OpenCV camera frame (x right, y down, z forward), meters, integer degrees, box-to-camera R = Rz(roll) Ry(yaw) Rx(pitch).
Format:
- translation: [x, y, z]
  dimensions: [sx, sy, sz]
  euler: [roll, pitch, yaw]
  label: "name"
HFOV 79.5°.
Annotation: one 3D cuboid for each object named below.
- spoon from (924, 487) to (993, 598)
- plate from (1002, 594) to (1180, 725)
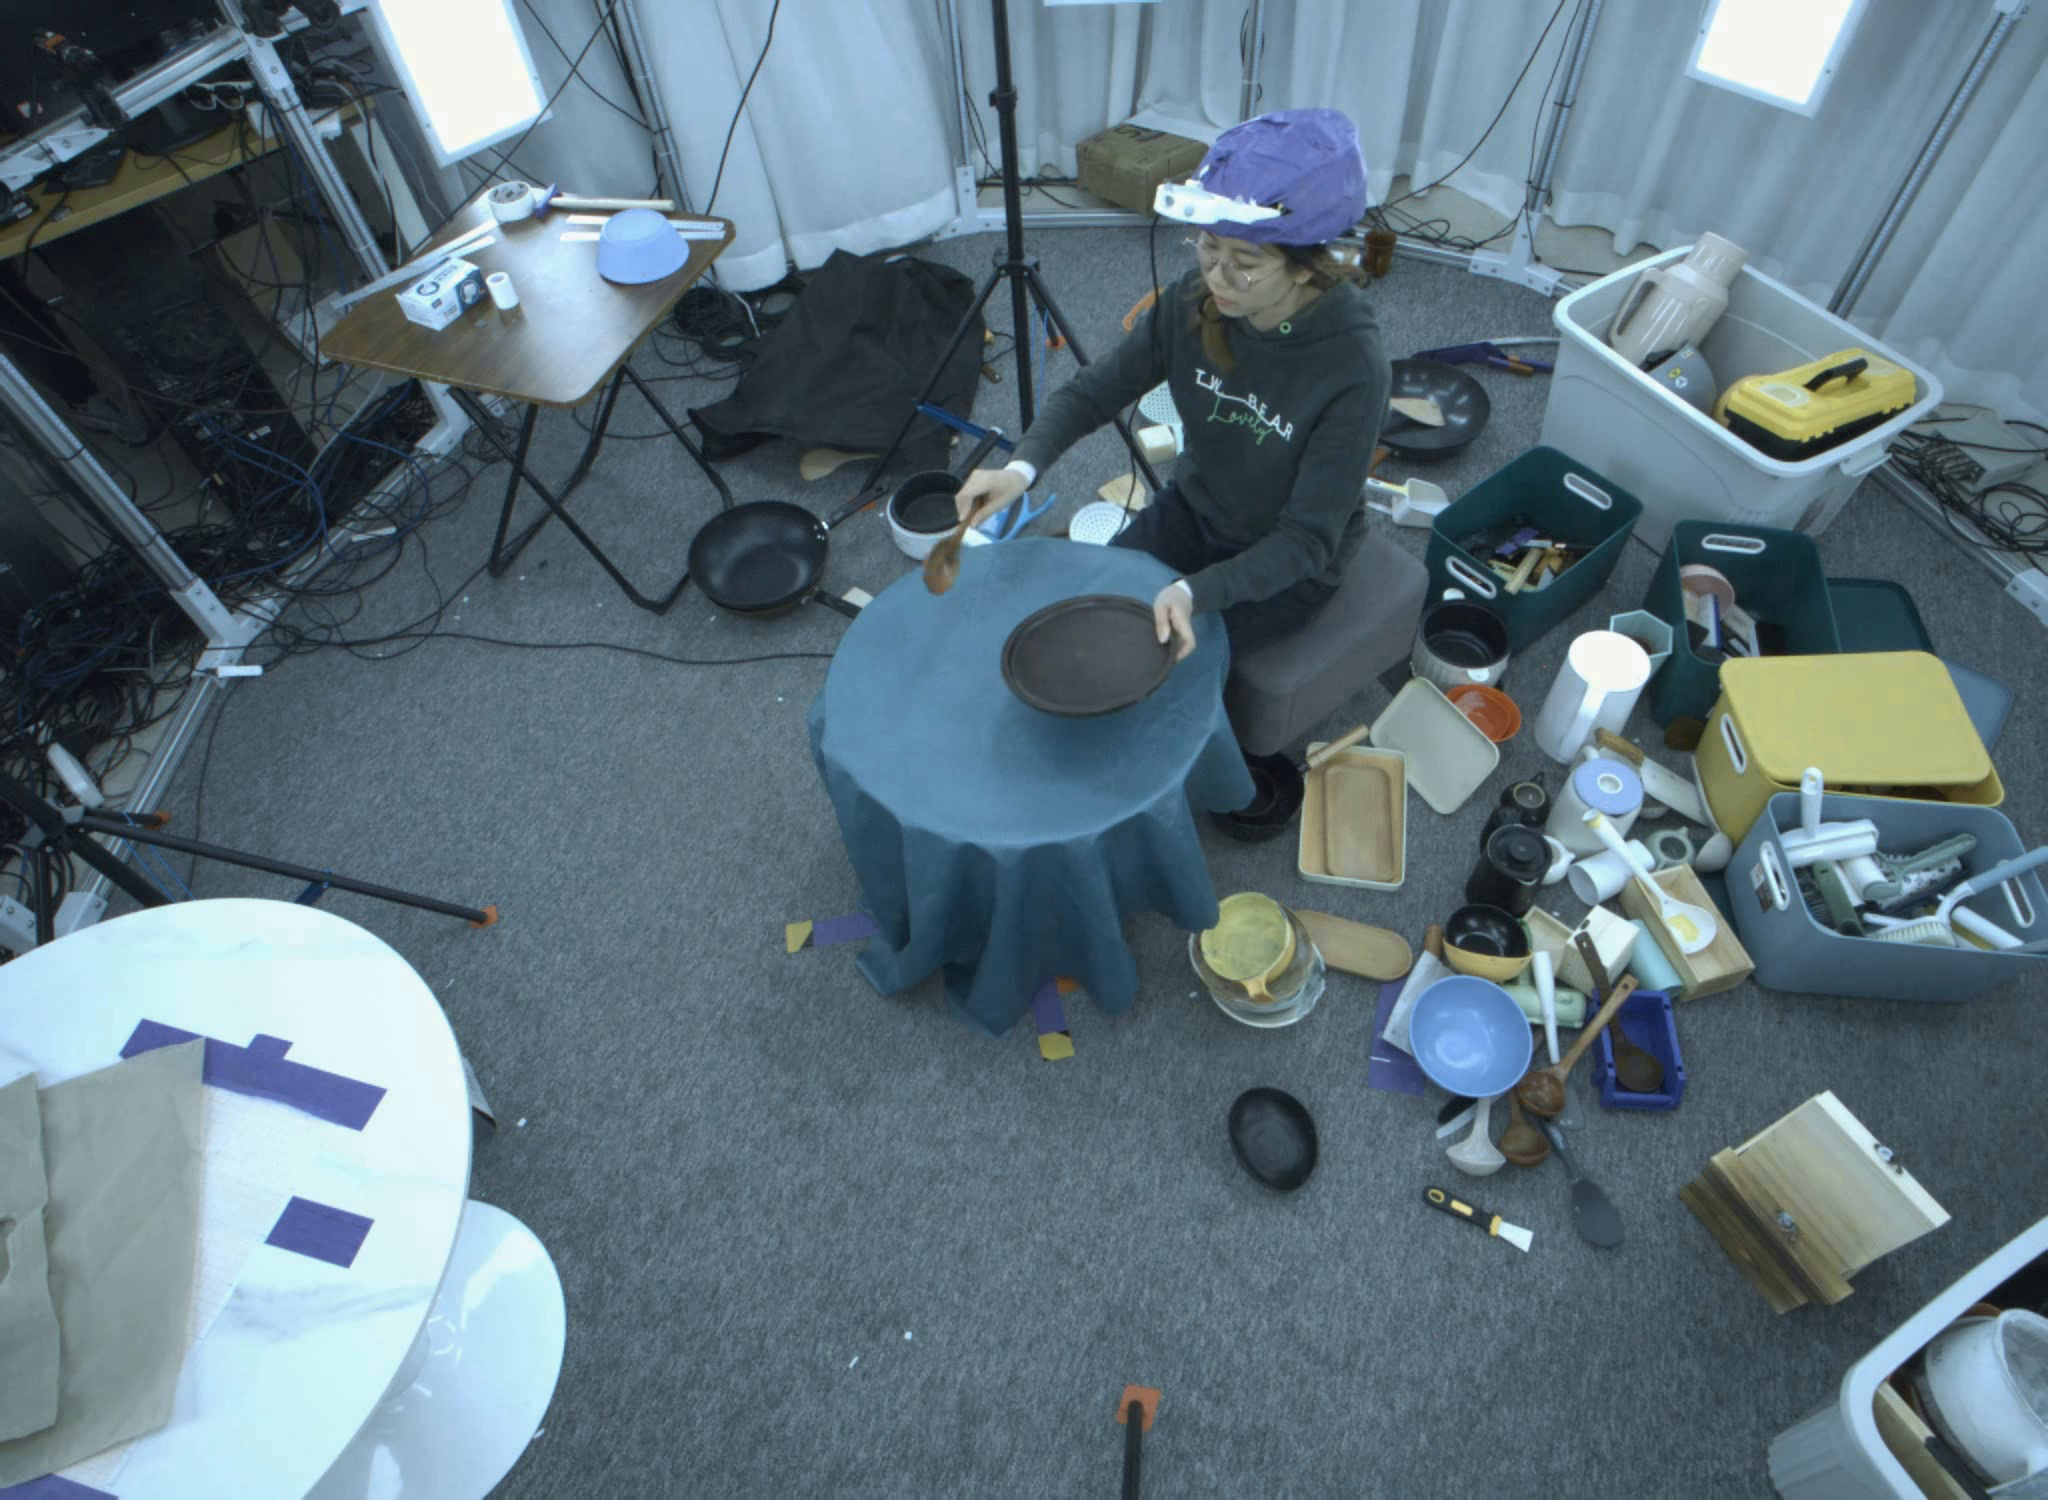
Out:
- translation: [-0.098, -0.318, 1.840]
  dimensions: [0.017, 0.077, 0.216]
  euler: [5, 55, 35]
  label: "spoon"
- translation: [0.095, -0.128, 1.747]
  dimensions: [0.254, 0.029, 0.252]
  euler: [-4, 48, 6]
  label: "plate"
